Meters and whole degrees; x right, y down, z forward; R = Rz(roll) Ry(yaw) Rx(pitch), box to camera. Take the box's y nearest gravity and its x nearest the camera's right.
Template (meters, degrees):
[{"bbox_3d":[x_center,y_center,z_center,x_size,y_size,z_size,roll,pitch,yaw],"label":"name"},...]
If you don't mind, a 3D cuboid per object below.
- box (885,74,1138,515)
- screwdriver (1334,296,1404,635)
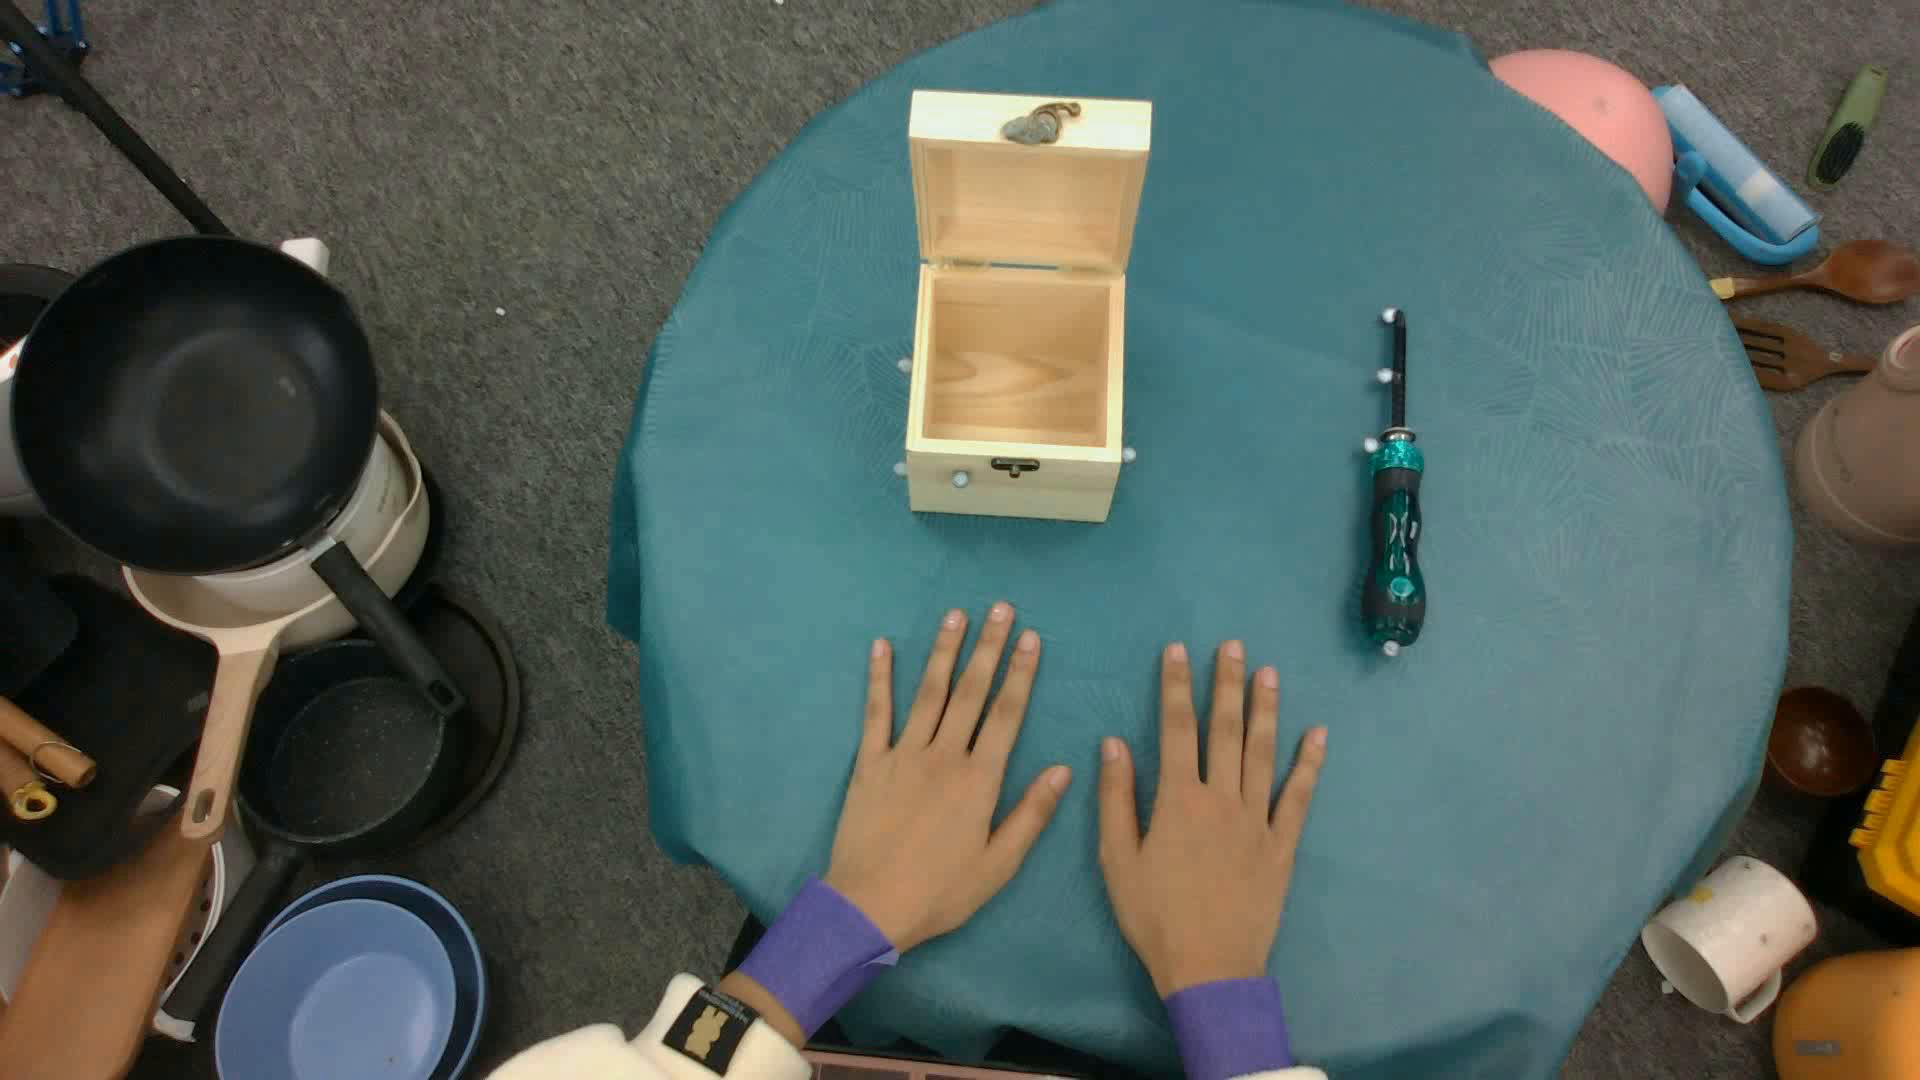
[{"bbox_3d":[0.019,-0.105,0.643,0.102,0.184,0.134,4,68,0],"label":"box"},{"bbox_3d":[0.212,-0.044,0.707,0.034,0.033,0.190,8,68,2],"label":"screwdriver"}]
